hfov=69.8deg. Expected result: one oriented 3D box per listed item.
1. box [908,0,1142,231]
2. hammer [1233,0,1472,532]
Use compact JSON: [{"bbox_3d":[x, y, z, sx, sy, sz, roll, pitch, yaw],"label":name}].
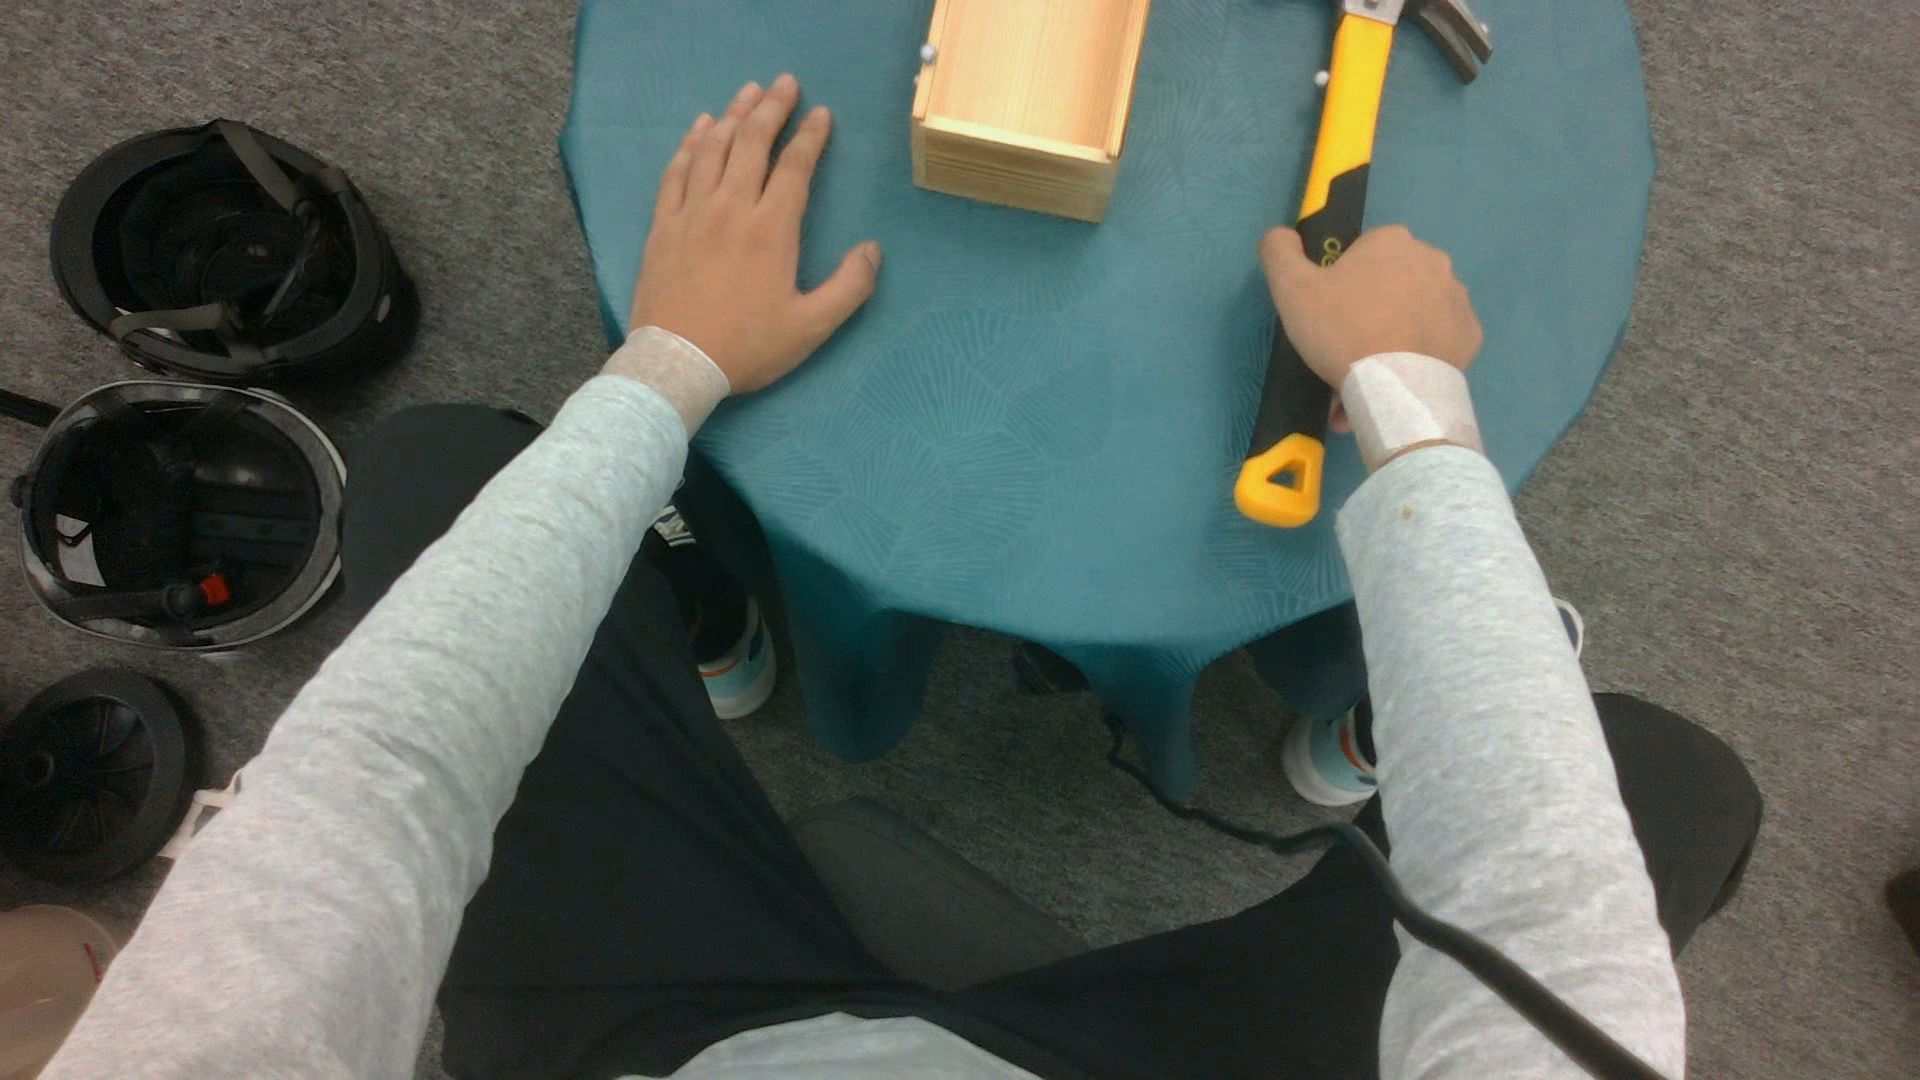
[{"bbox_3d":[0.043,-0.289,0.749,0.107,0.080,0.212,10,79,1],"label":"box"},{"bbox_3d":[0.194,-0.167,0.743,0.131,0.032,0.339,13,76,-1],"label":"hammer"}]
